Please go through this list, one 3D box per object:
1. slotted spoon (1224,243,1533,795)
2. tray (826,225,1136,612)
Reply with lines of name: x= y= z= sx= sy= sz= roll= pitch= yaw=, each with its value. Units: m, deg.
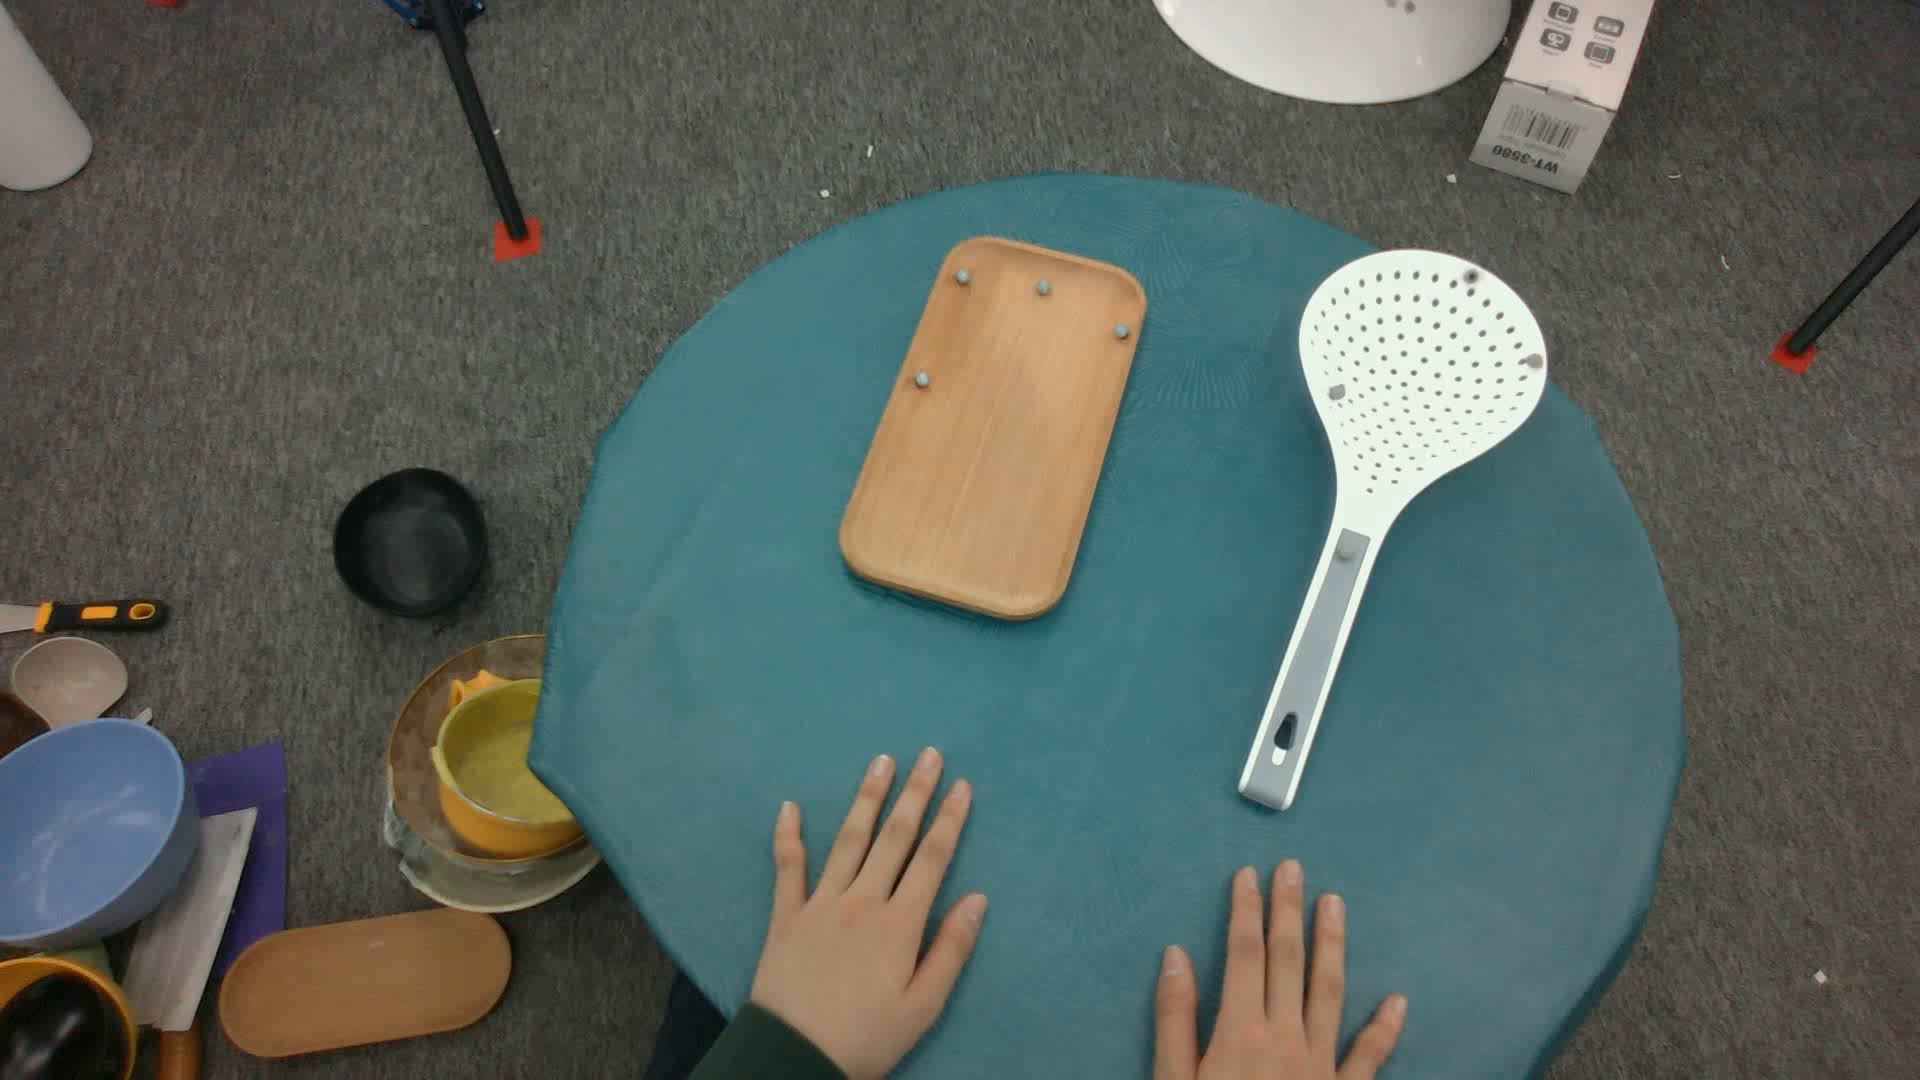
slotted spoon: x=0.214 y=-0.022 z=0.750 sx=0.136 sy=0.045 sz=0.351 roll=21 pitch=62 yaw=12
tray: x=0.017 y=-0.076 z=0.787 sx=0.130 sy=0.023 sz=0.252 roll=15 pitch=61 yaw=8
